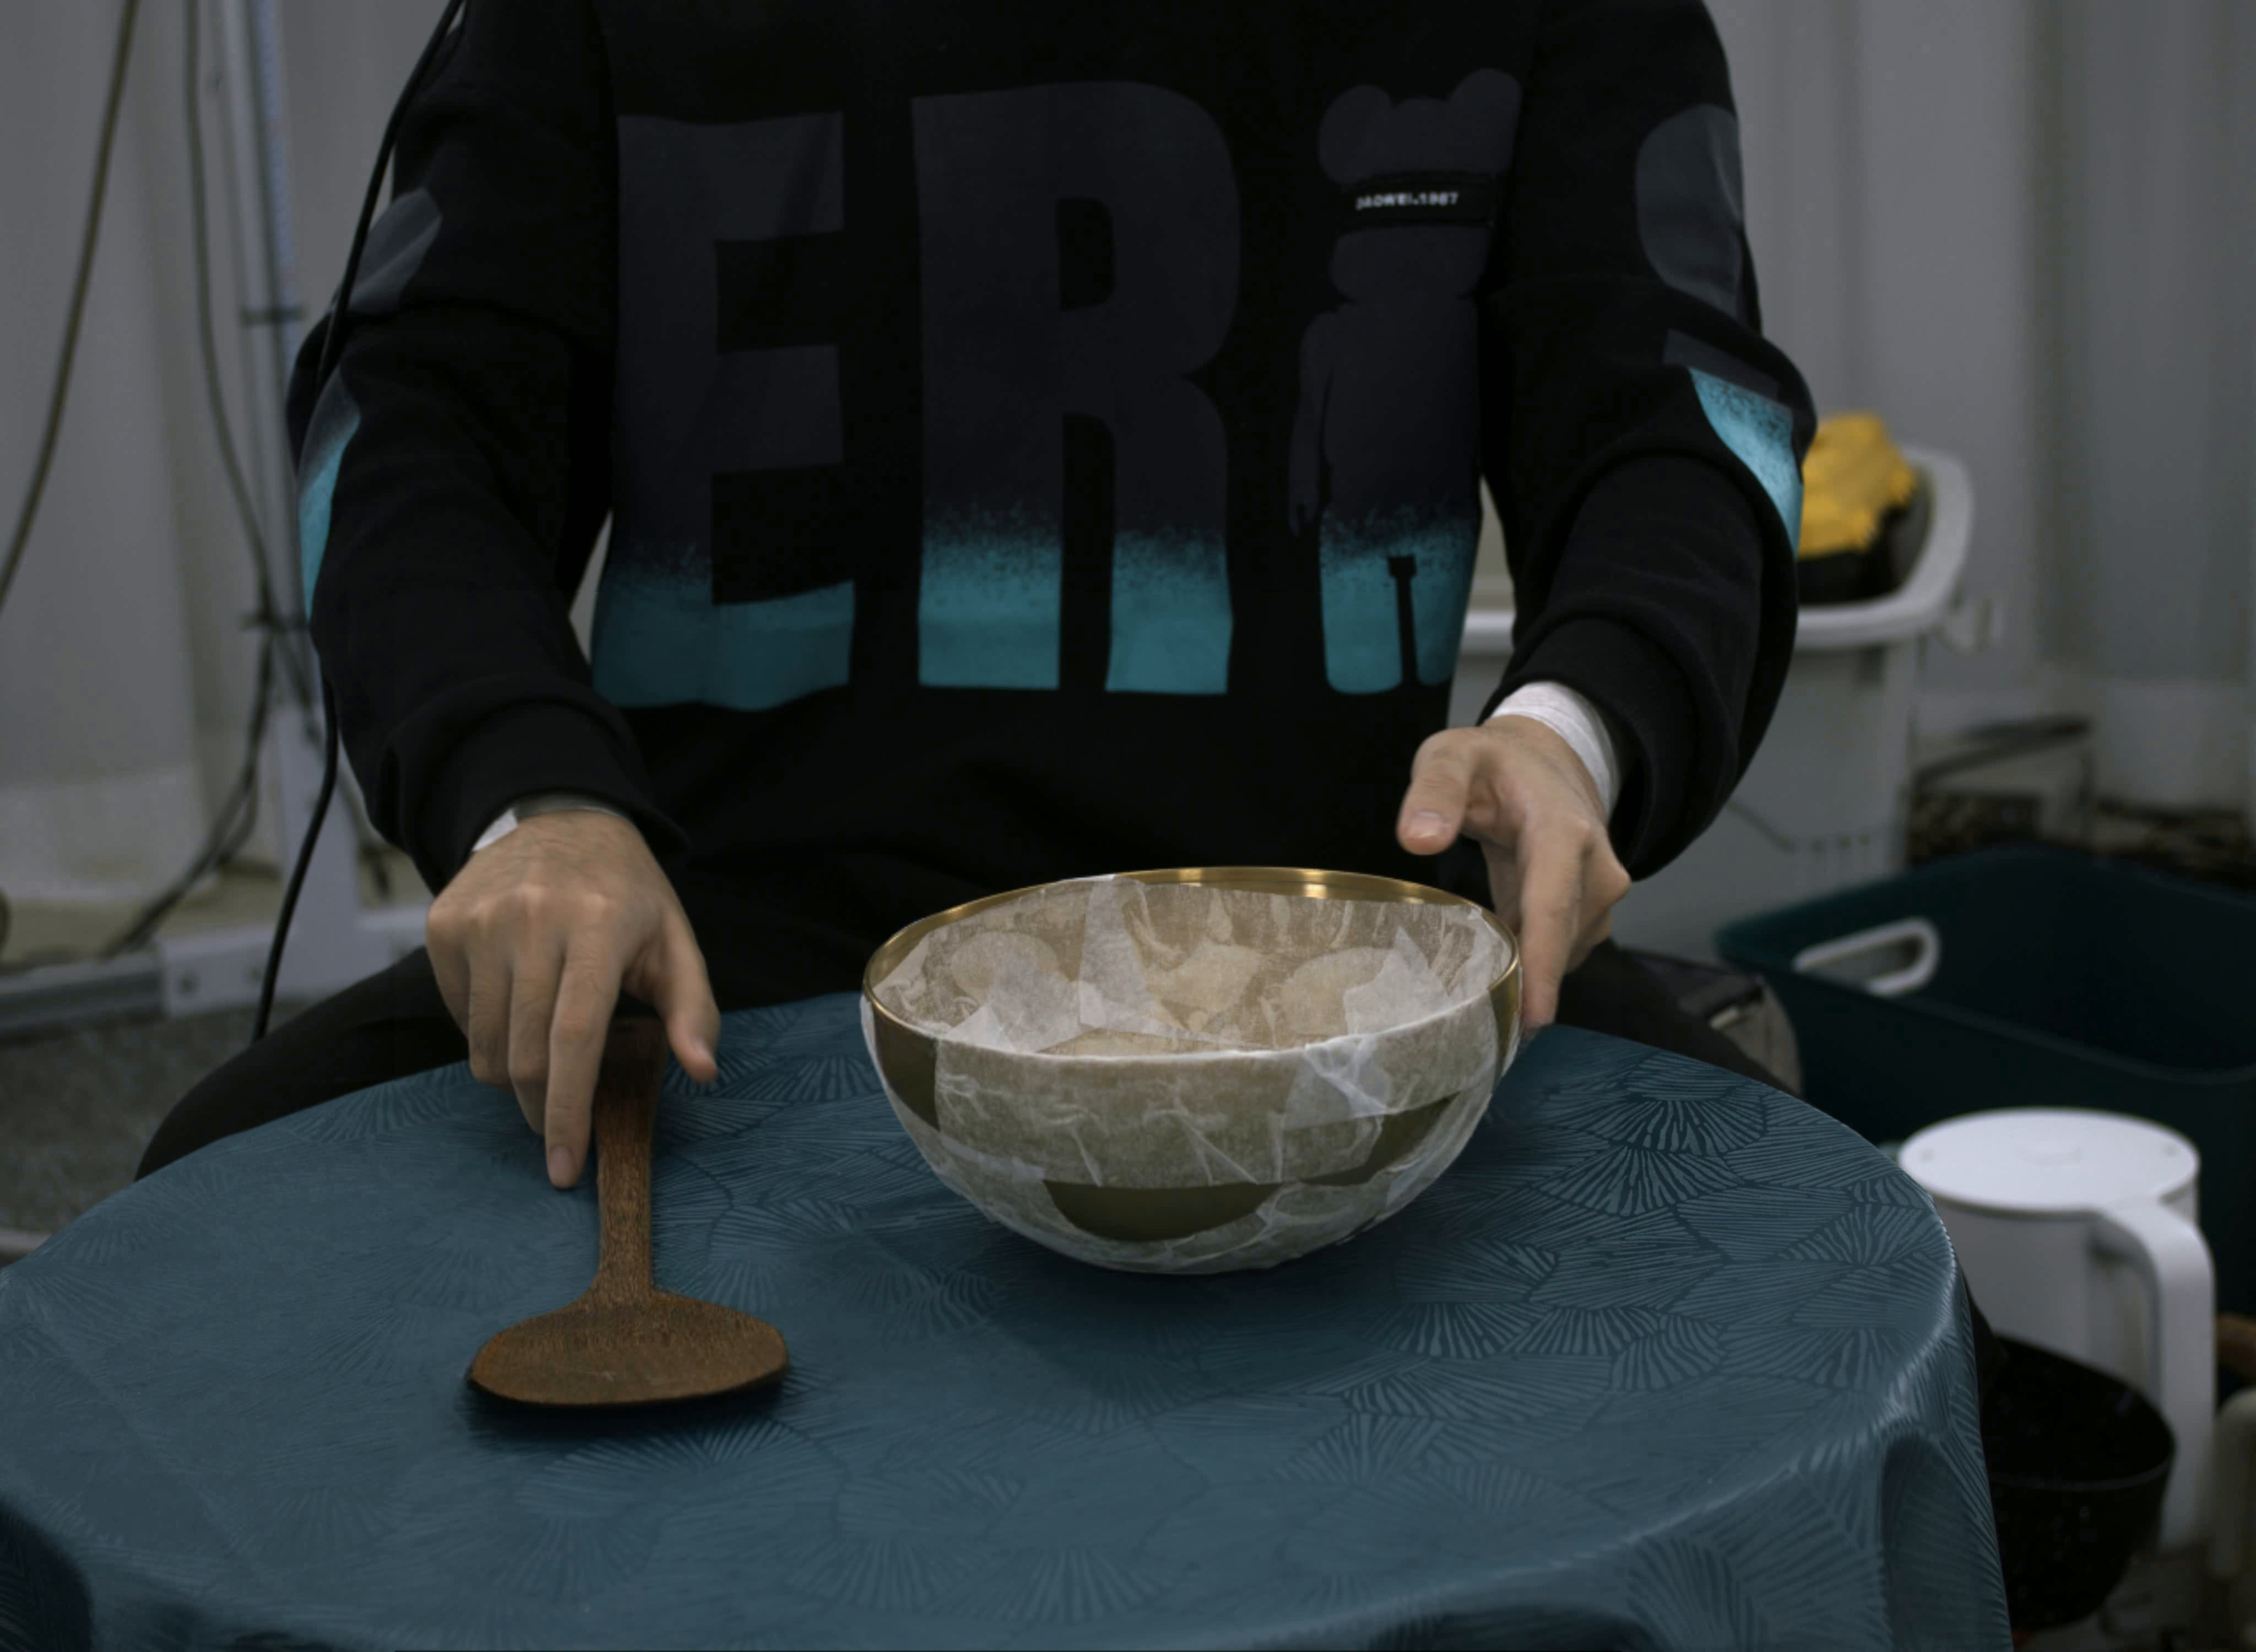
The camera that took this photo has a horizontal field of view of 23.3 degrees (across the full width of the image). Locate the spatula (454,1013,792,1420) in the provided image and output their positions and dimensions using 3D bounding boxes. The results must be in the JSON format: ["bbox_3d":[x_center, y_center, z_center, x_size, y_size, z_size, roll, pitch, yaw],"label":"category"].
[{"bbox_3d":[-0.158,0.116,1.710,0.096,0.016,0.389,-3,15,-5],"label":"spatula"}]

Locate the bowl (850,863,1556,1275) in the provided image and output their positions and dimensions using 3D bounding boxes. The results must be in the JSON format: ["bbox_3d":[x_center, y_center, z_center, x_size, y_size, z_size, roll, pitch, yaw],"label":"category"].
[{"bbox_3d":[0.023,0.081,1.658,0.214,0.094,0.216,-4,14,1],"label":"bowl"}]
